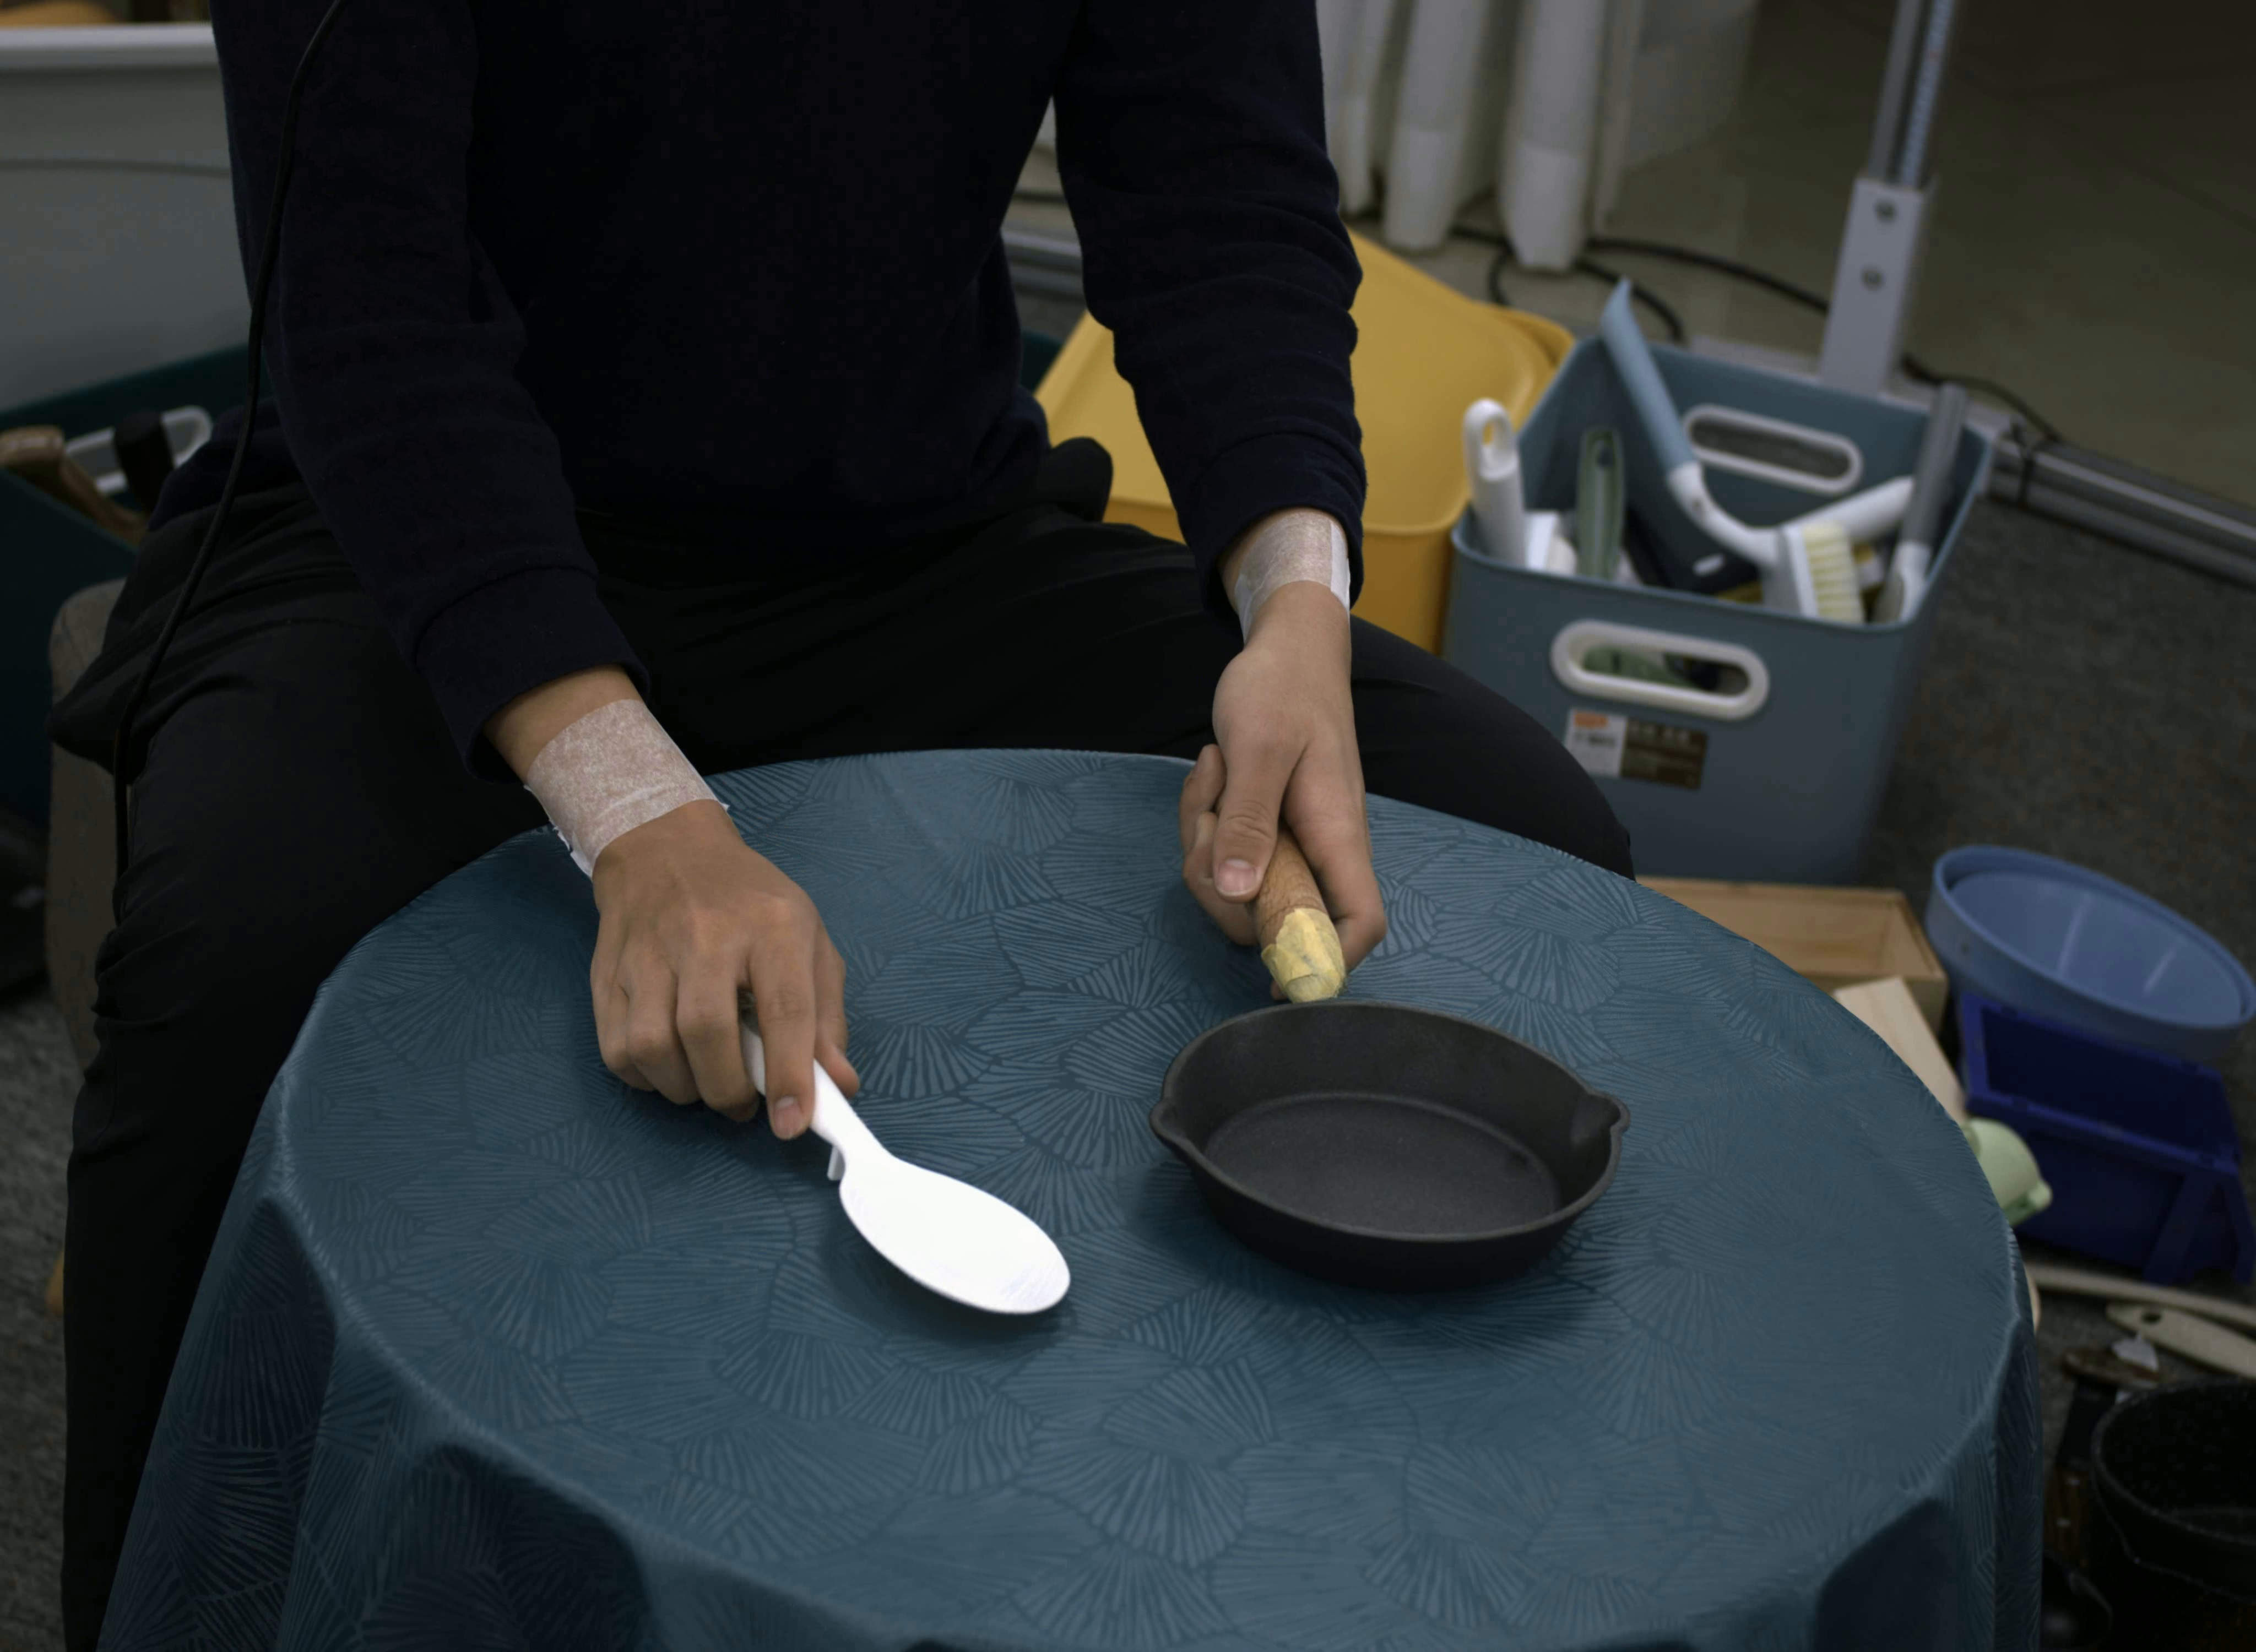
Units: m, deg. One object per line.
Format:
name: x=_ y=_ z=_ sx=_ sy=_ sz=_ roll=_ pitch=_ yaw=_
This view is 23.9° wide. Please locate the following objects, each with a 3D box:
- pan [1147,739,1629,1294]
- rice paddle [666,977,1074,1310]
pan: x=0.072 y=0.064 z=1.878 sx=0.168 sy=0.049 sz=0.327 roll=0 pitch=29 yaw=-12
rice paddle: x=-0.088 y=0.109 z=1.780 sx=0.068 sy=0.029 sz=0.207 roll=-4 pitch=28 yaw=-38
